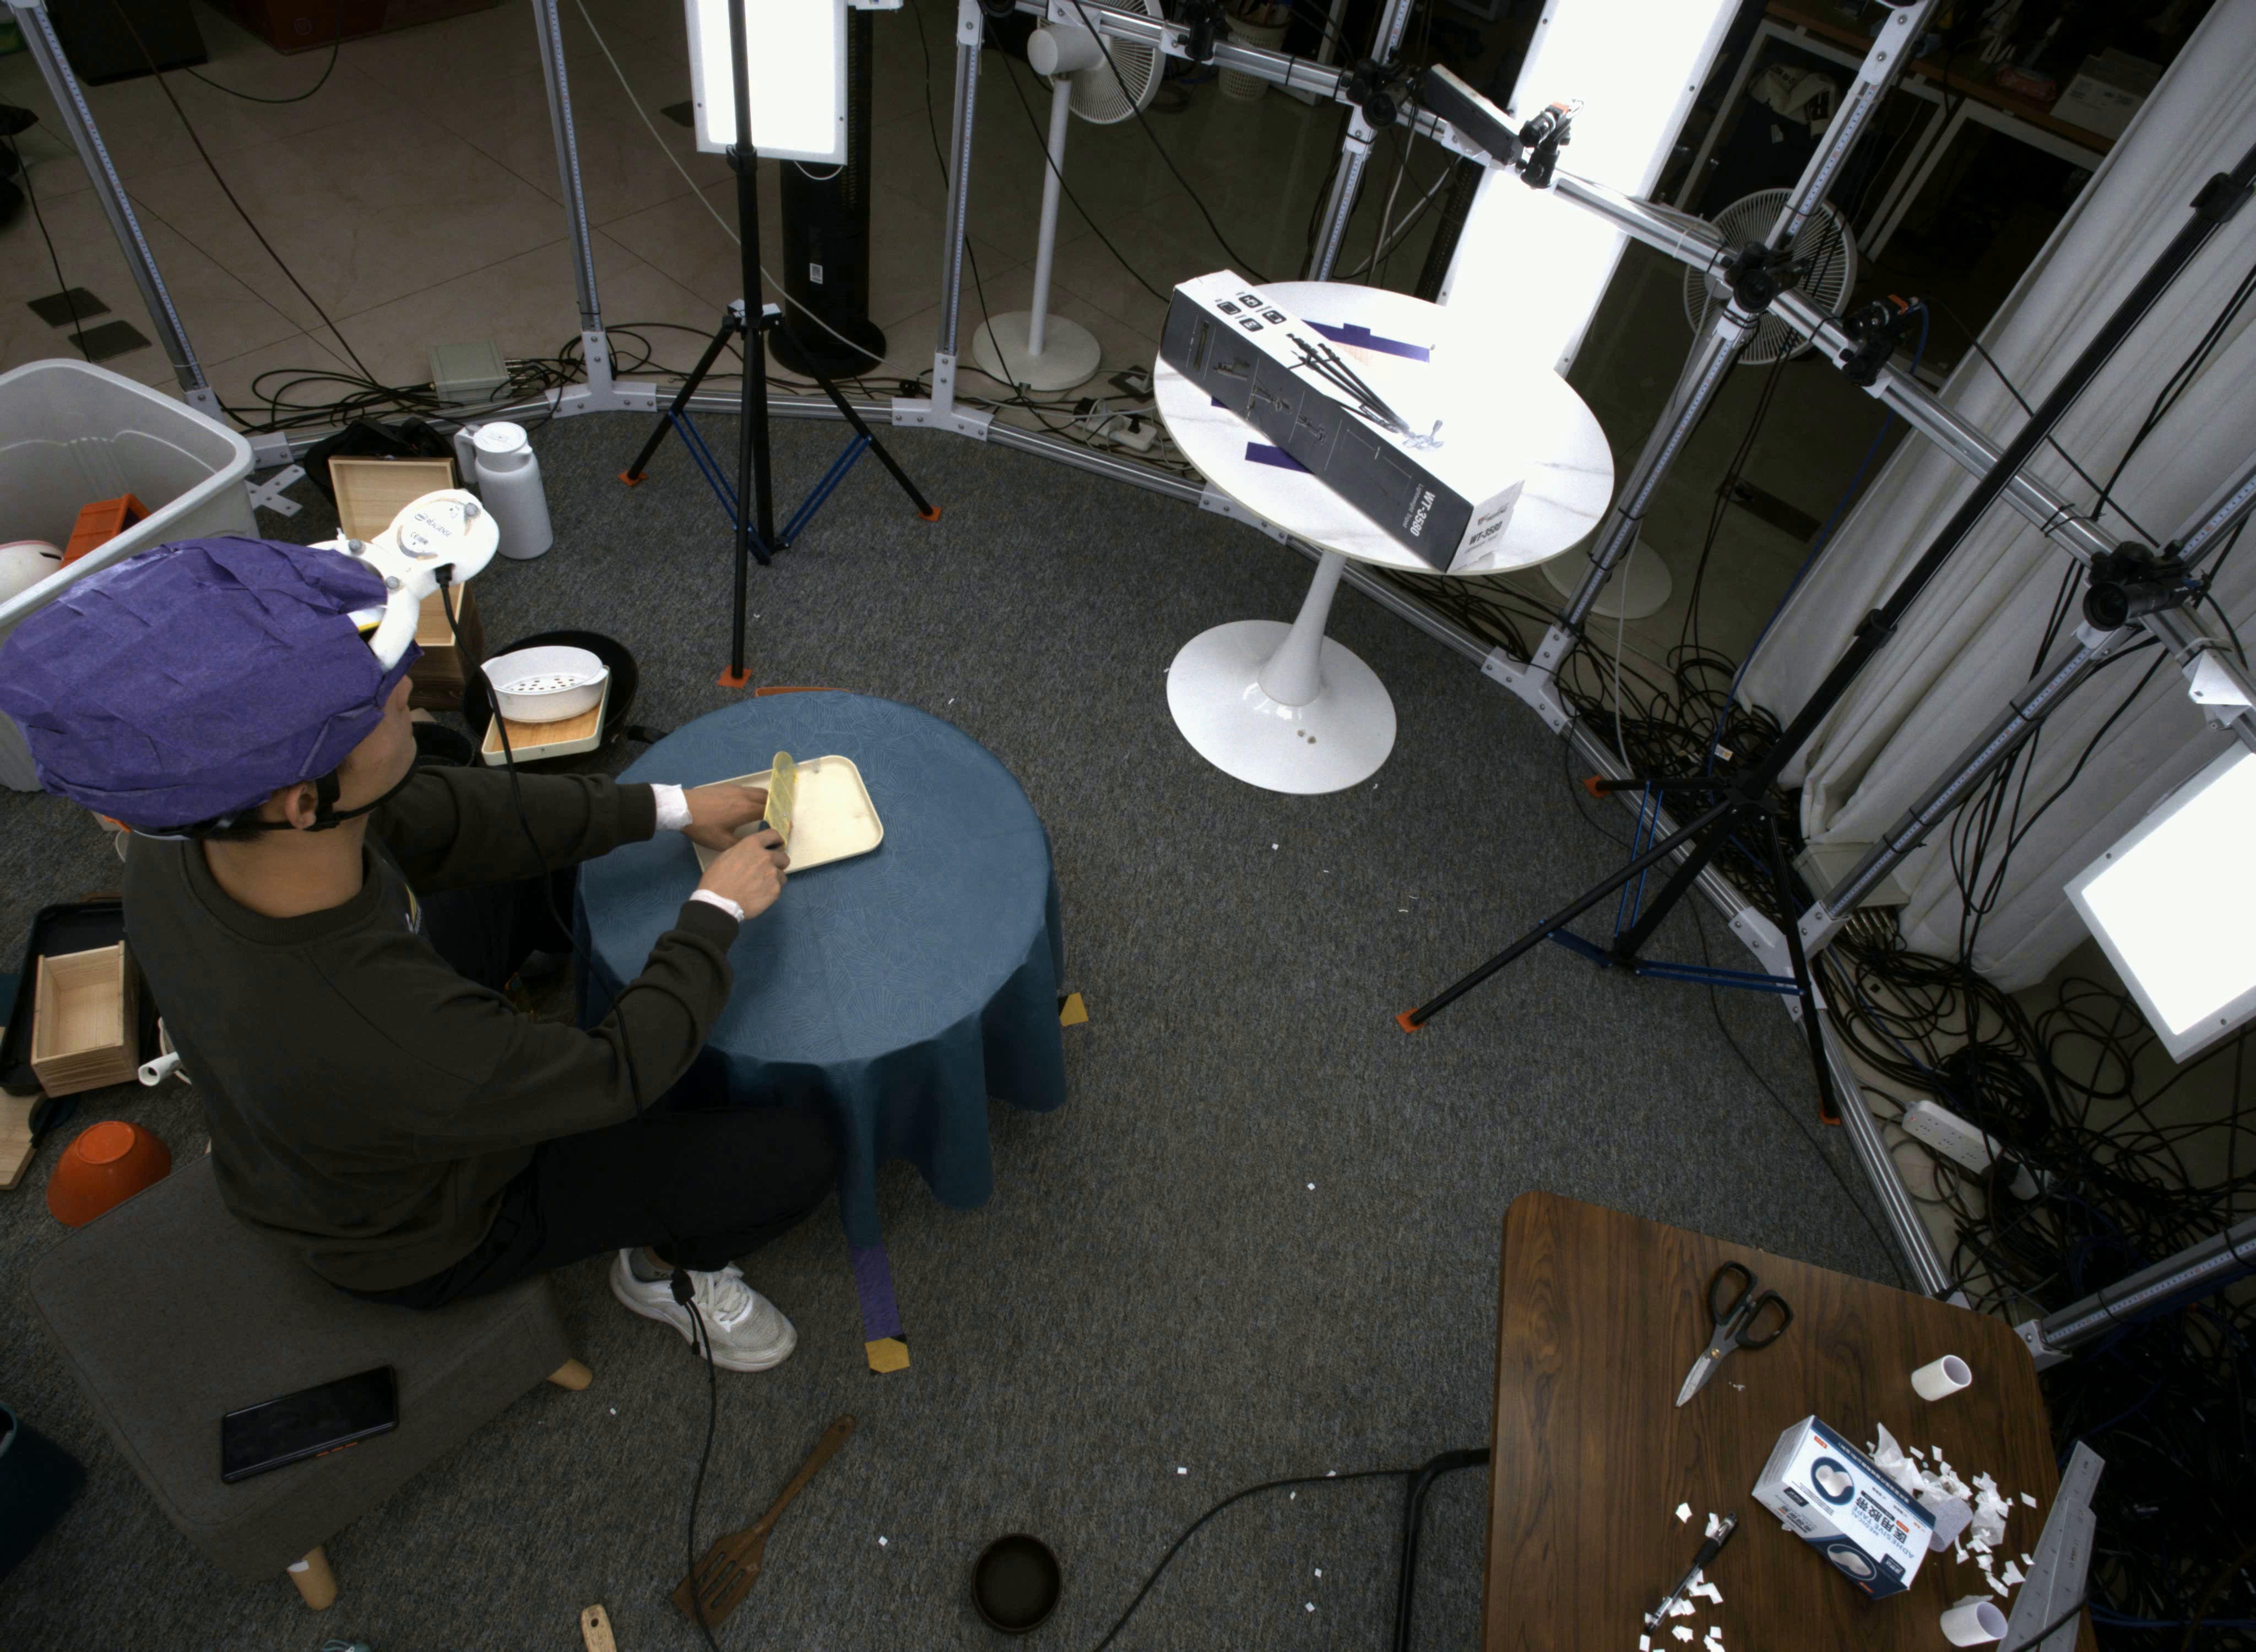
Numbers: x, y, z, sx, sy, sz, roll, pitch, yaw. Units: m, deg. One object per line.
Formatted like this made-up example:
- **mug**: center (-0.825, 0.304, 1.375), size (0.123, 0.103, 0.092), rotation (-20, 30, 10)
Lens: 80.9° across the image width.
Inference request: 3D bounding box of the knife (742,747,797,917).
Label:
- **knife**: center (-0.448, 0.006, 1.637), size (0.027, 0.084, 0.283), rotation (-8, 47, 8)

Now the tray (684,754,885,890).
- **tray**: center (-0.456, -0.007, 1.721), size (0.241, 0.018, 0.167), rotation (-16, 60, -24)
